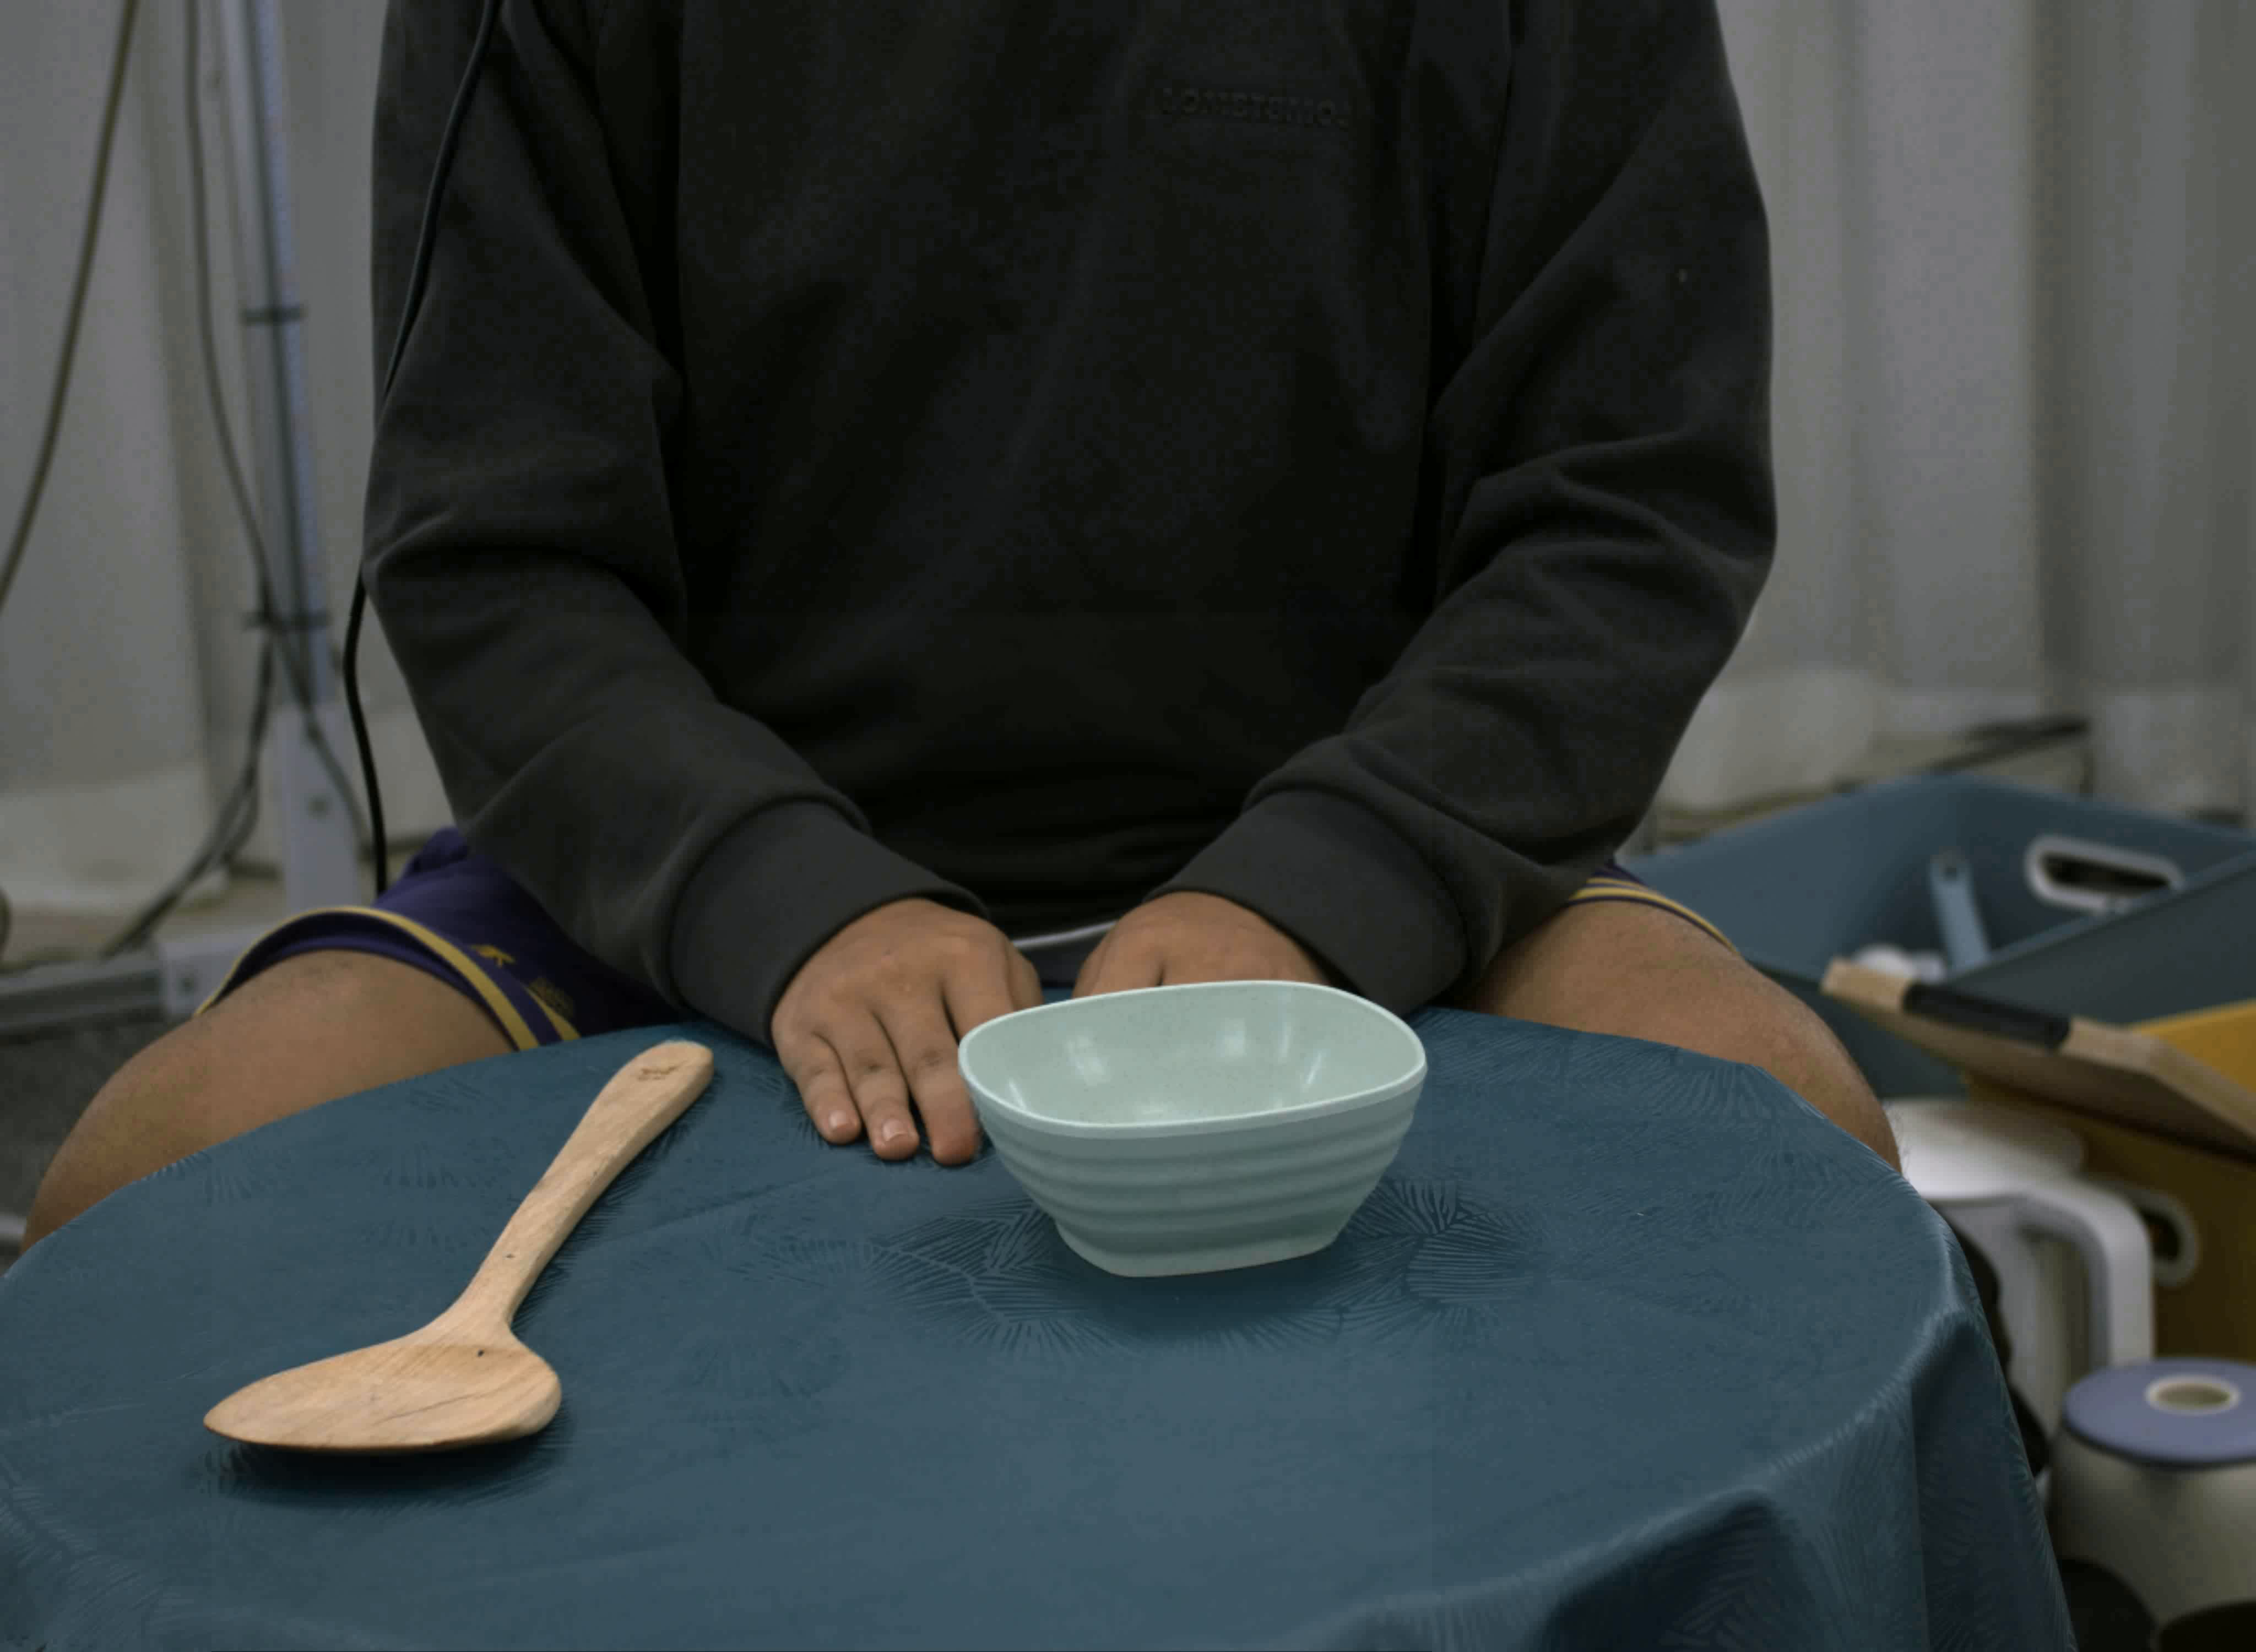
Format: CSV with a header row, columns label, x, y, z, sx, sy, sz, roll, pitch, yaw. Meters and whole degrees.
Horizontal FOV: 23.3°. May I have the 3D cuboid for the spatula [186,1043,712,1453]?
label,x,y,z,sx,sy,sz,roll,pitch,yaw
spatula,-0.187,0.124,1.683,0.095,0.018,0.393,1,16,9

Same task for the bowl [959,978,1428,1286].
label,x,y,z,sx,sy,sz,roll,pitch,yaw
bowl,0.020,0.097,1.674,0.151,0.058,0.152,-2,16,0
